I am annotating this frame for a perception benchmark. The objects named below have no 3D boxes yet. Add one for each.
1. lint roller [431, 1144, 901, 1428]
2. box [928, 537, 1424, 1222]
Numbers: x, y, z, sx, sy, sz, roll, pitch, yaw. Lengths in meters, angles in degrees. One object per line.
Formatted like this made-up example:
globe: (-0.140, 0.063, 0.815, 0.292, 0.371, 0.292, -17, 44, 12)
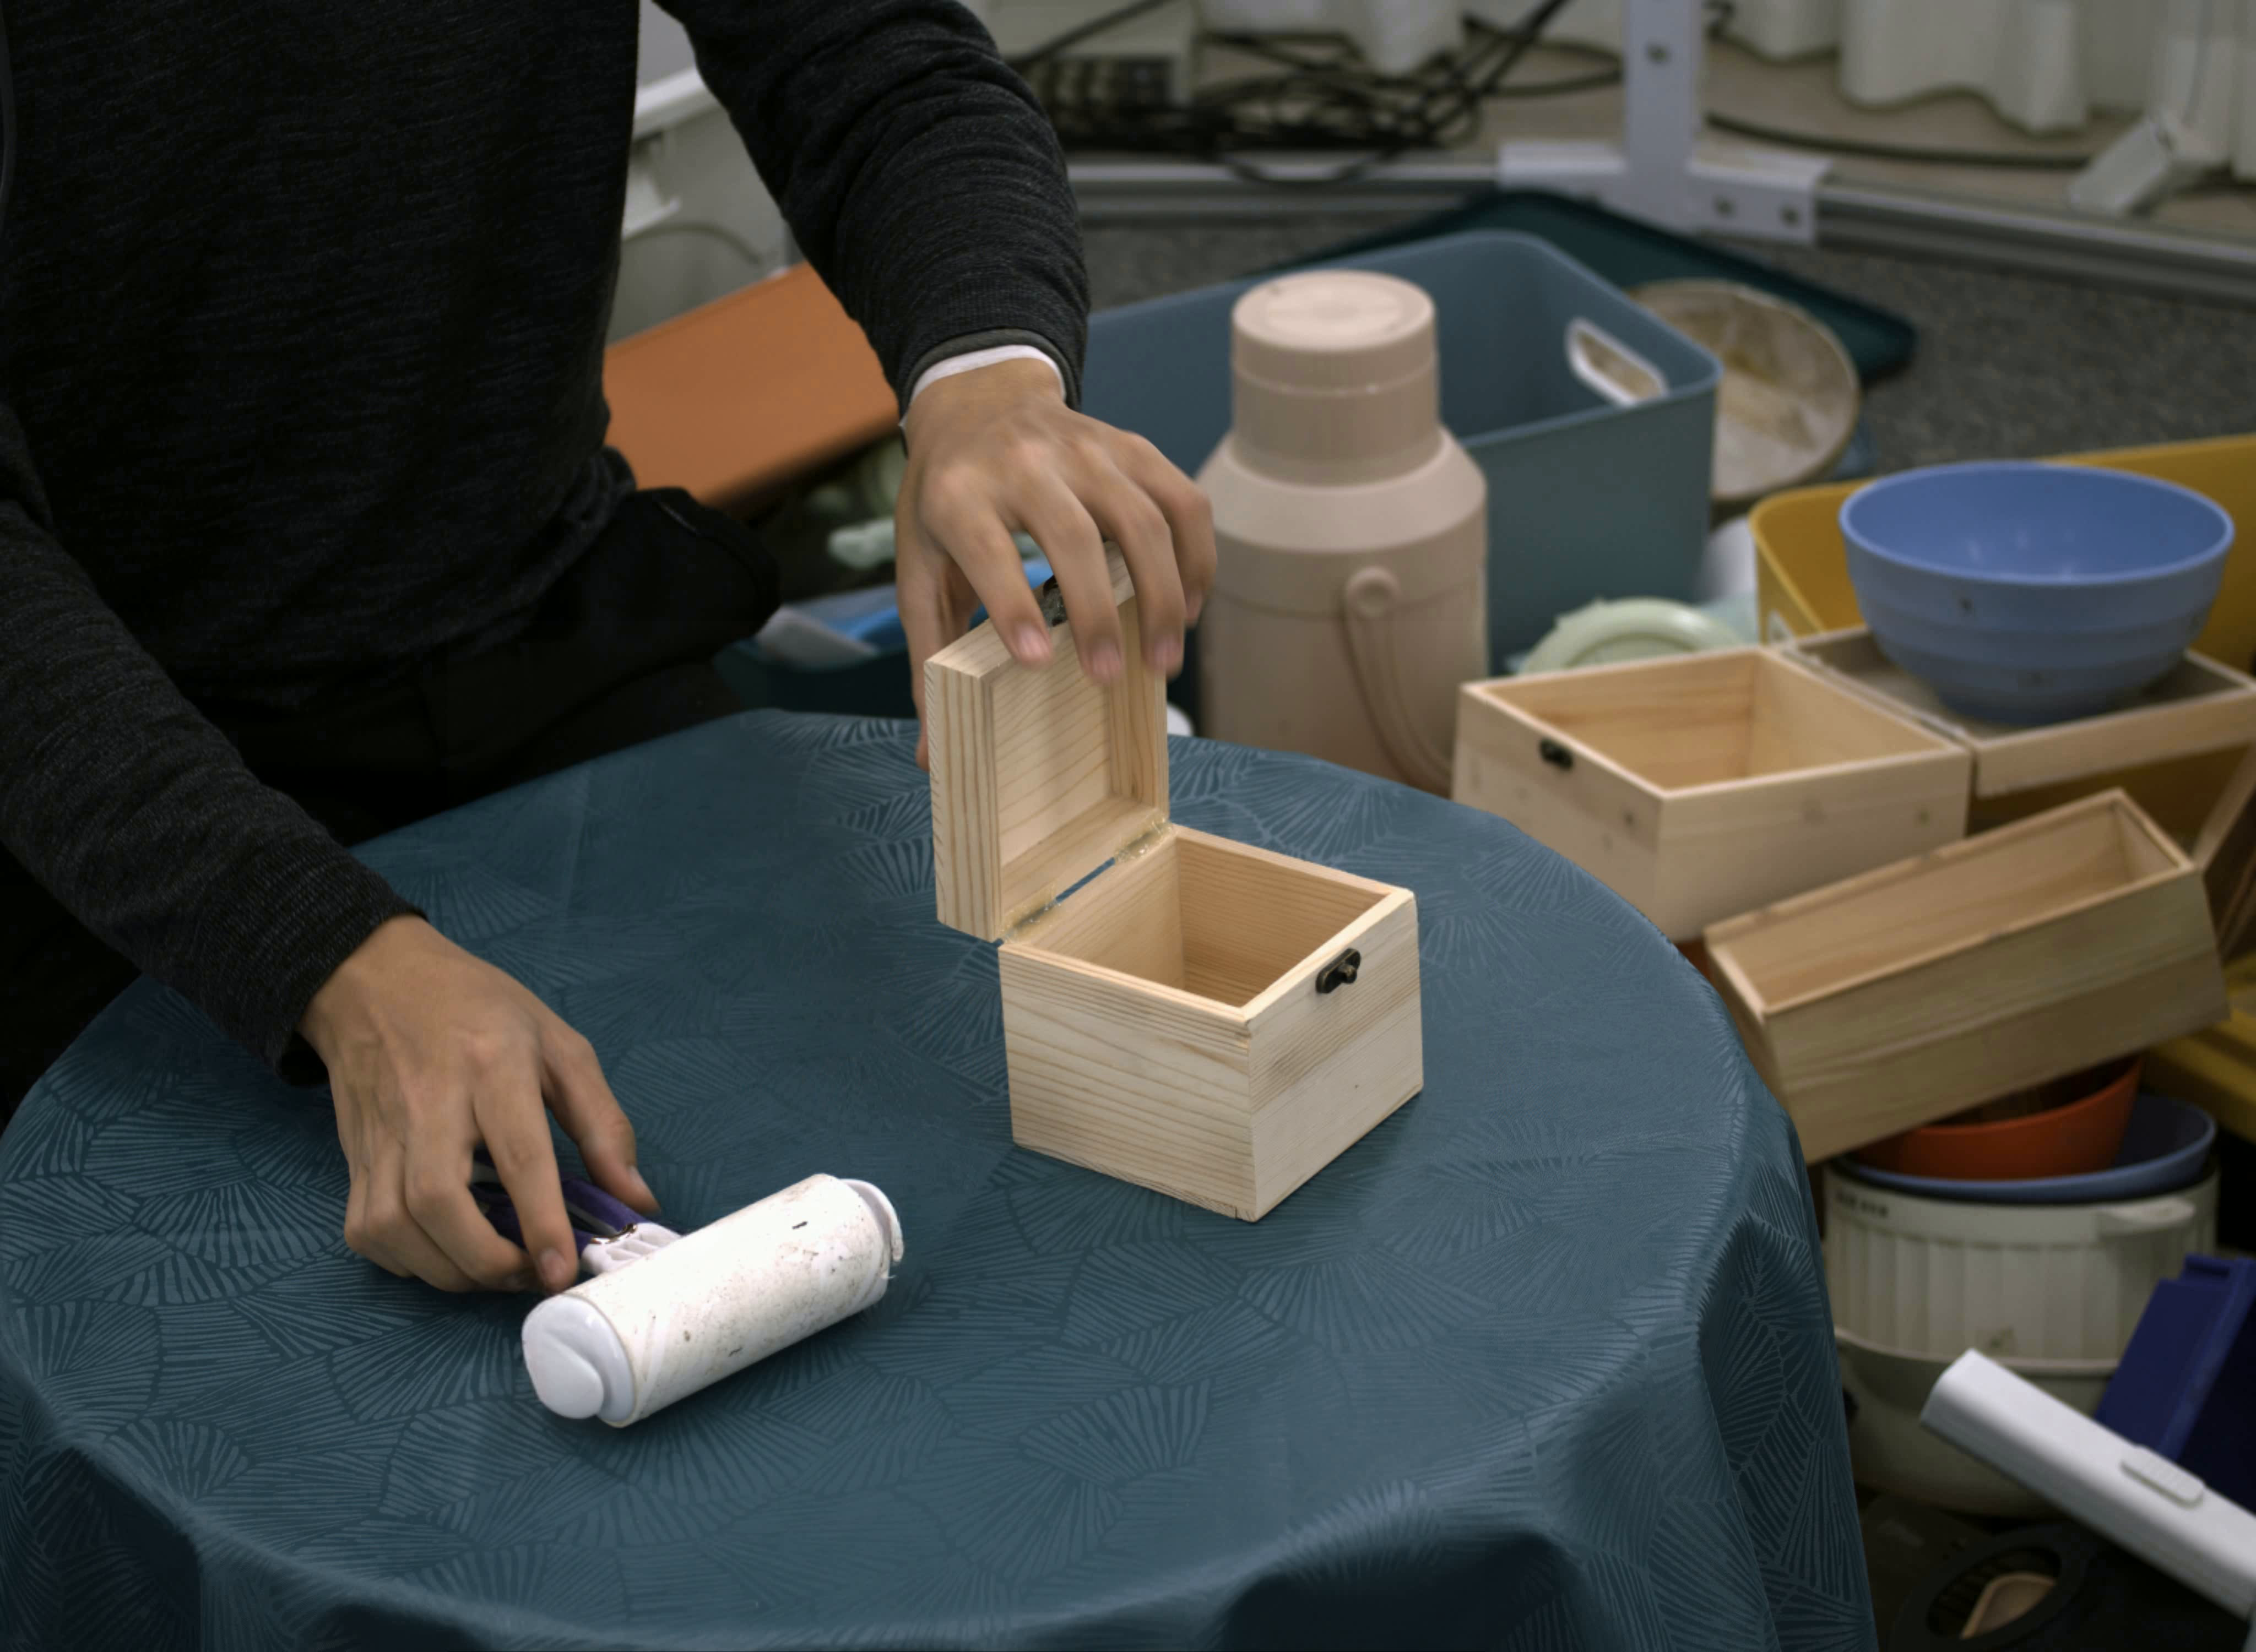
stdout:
lint roller: (-0.169, 0.127, 1.817, 0.134, 0.049, 0.181, -23, 35, -32)
box: (0.019, 0.016, 1.867, 0.133, 0.182, 0.104, 15, 32, 33)
